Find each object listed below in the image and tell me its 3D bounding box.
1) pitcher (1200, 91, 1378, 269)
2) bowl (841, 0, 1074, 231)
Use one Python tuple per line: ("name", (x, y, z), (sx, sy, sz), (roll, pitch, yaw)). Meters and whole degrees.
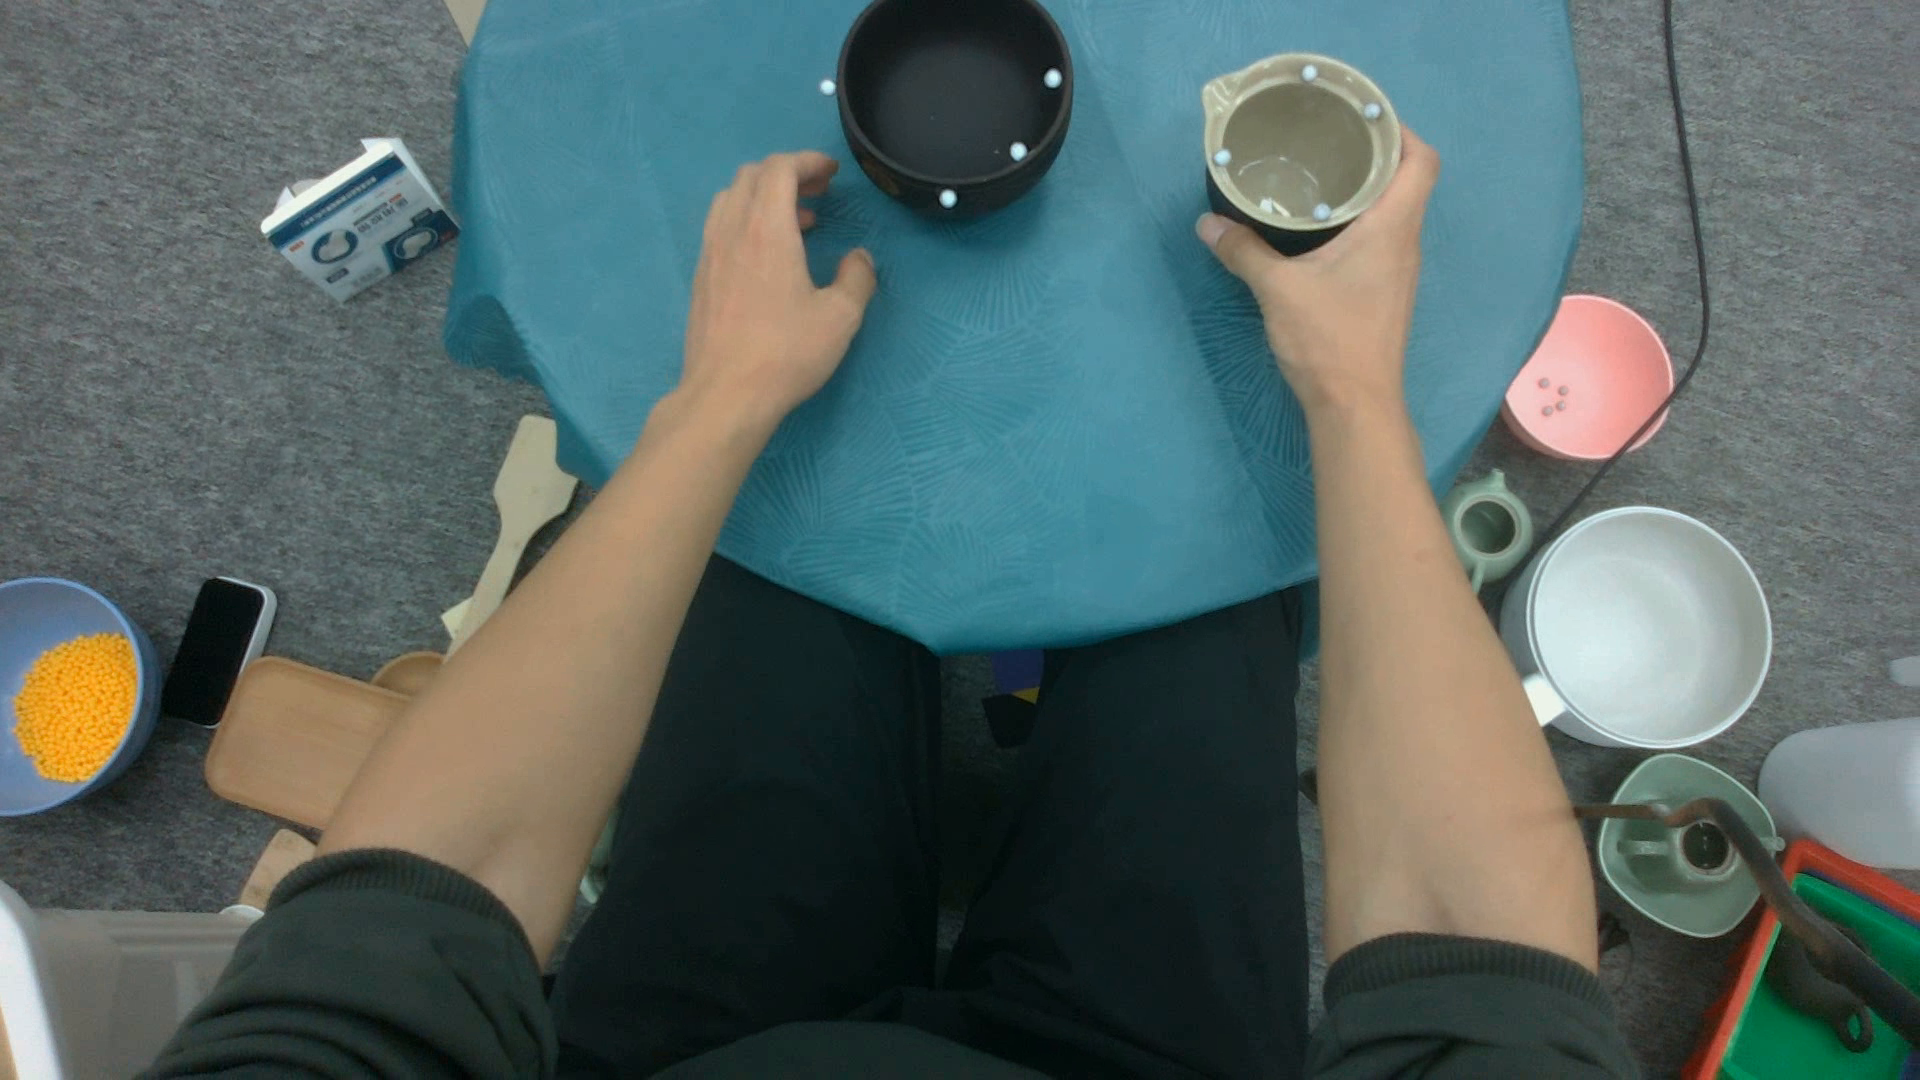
("pitcher", (0.160, -0.181, 0.704), (0.096, 0.071, 0.084), (38, 82, 10))
("bowl", (-0.001, -0.214, 0.716), (0.118, 0.069, 0.118), (0, 76, 0))
